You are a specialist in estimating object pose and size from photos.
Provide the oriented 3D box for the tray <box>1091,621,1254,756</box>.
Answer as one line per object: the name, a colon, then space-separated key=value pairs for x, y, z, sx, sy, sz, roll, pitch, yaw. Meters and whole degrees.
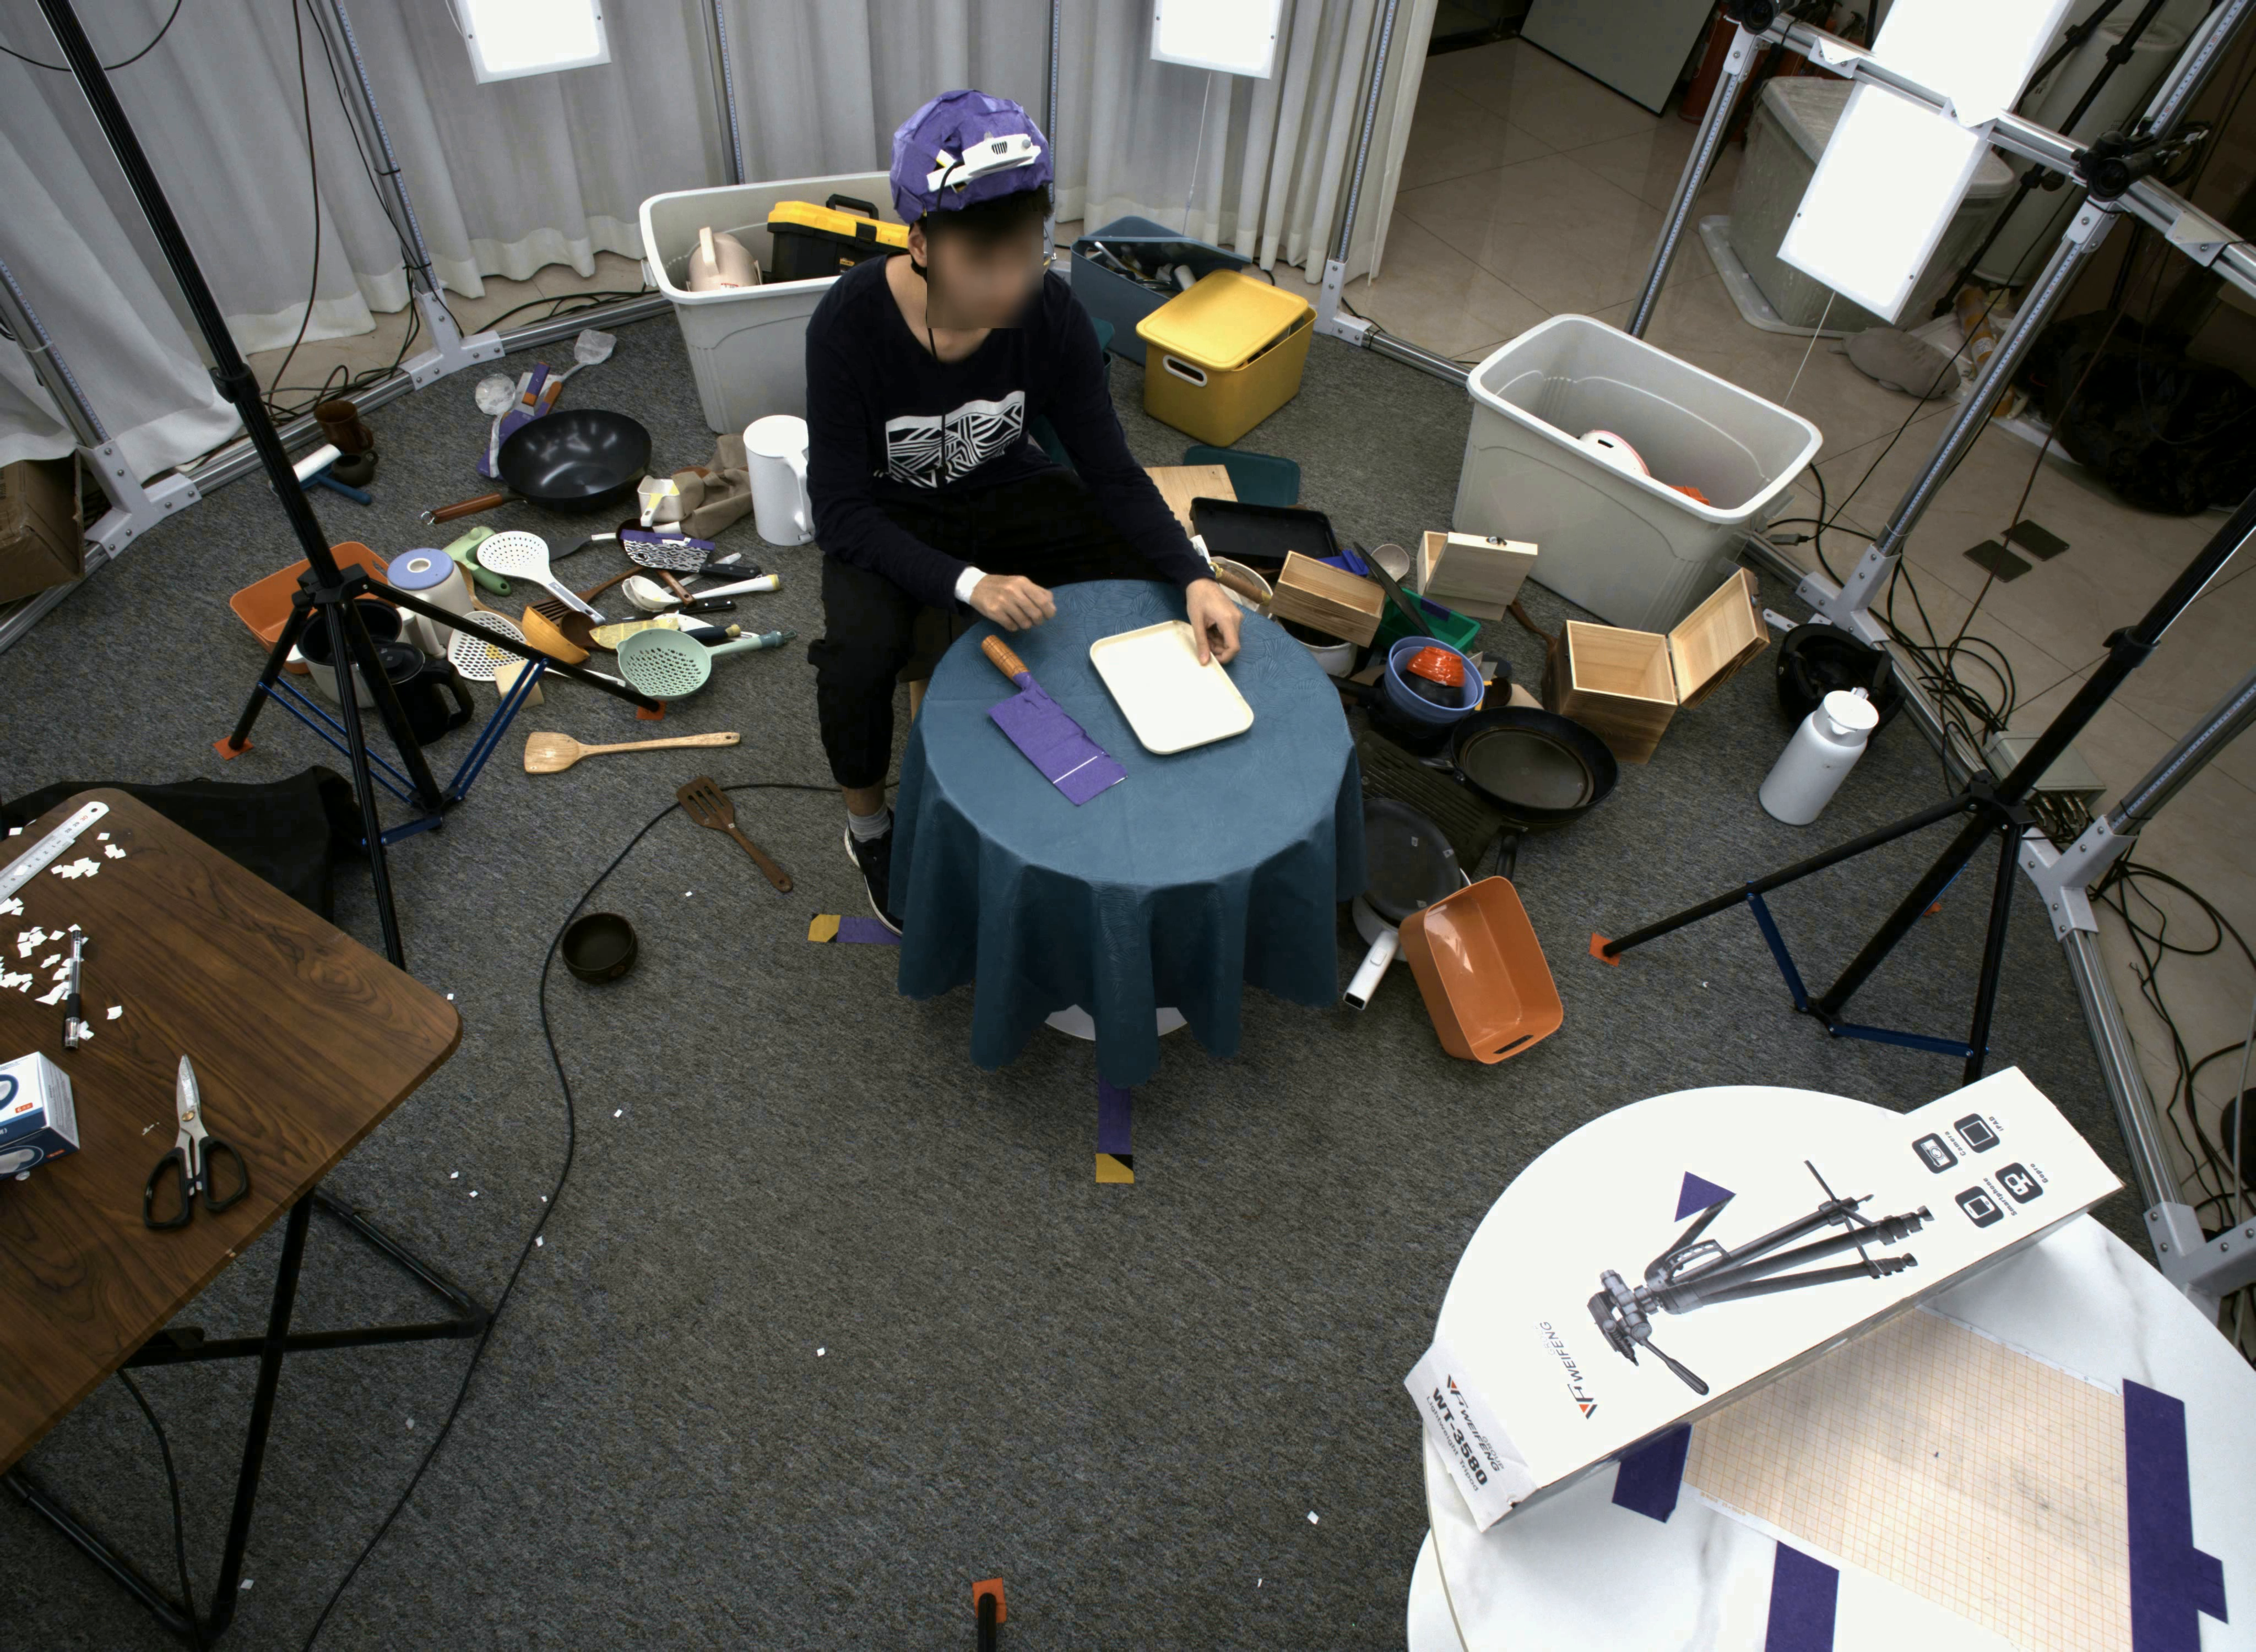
tray: x=0.061 y=-0.199 z=1.832 sx=0.171 sy=0.017 sz=0.245 roll=-16 pitch=52 yaw=-16

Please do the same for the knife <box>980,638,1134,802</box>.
knife: x=-0.127 y=-0.150 z=1.772 sx=0.104 sy=0.031 sz=0.321 roll=-30 pitch=58 yaw=-26
